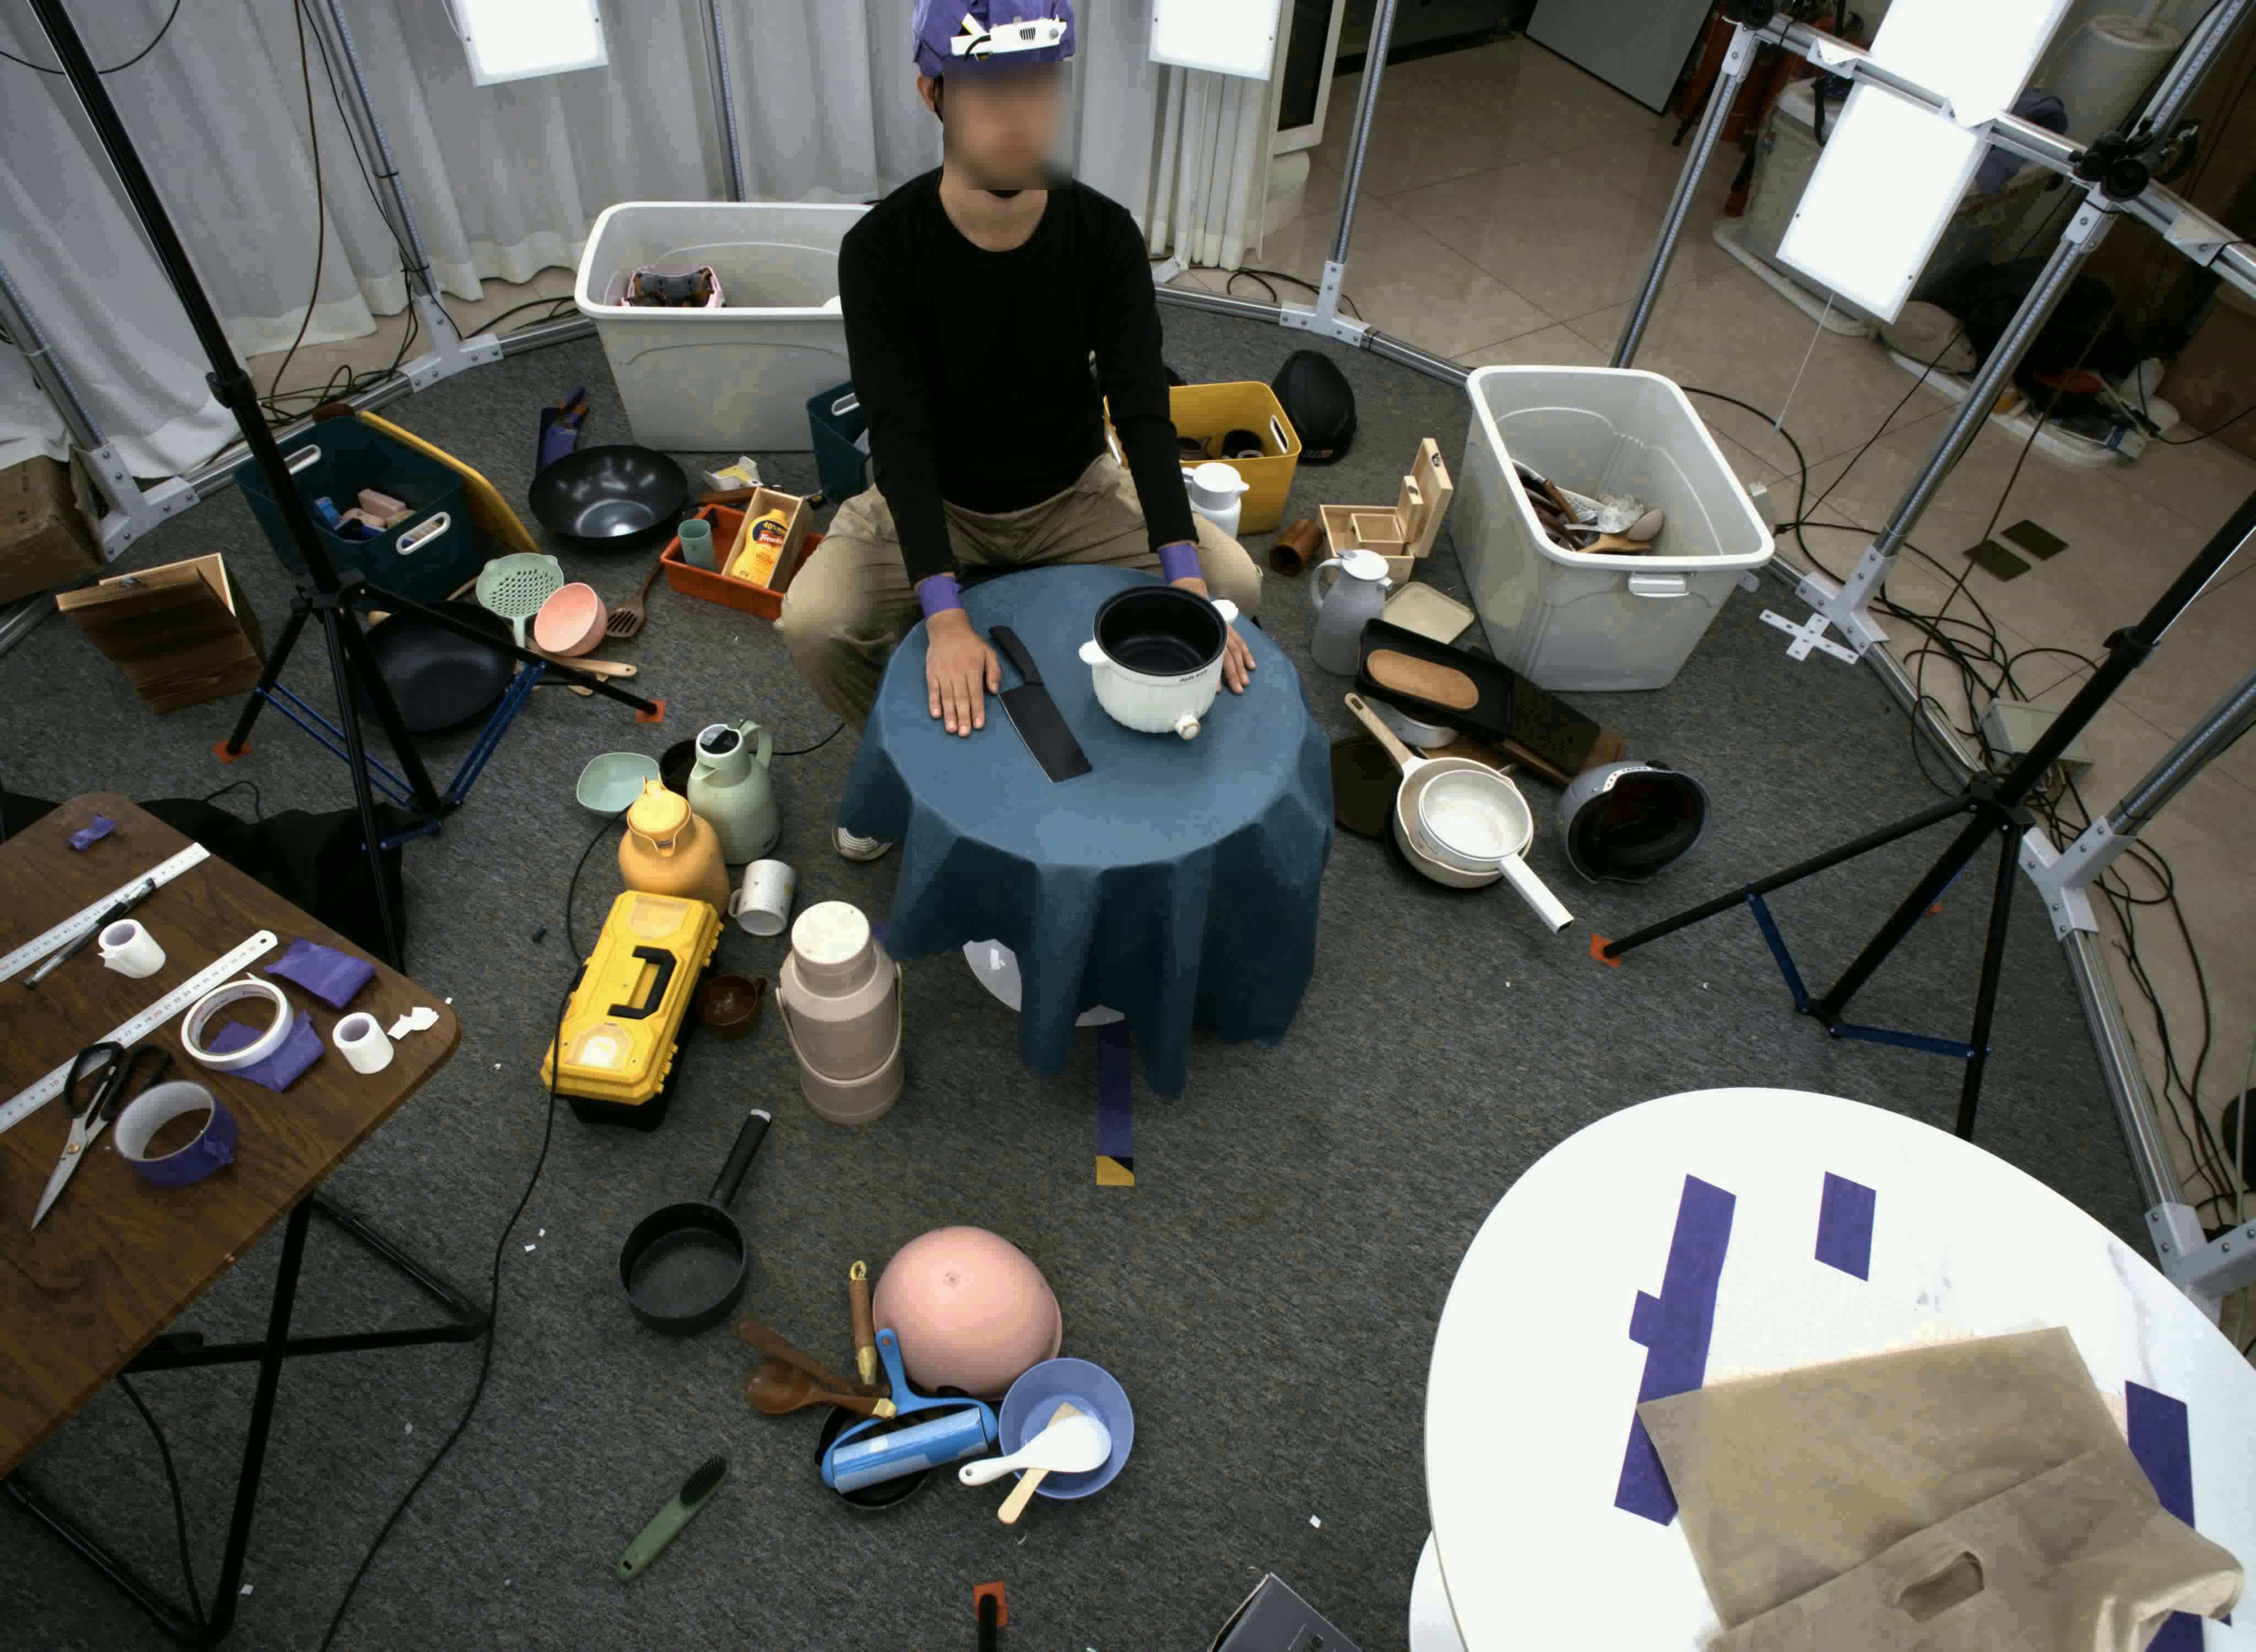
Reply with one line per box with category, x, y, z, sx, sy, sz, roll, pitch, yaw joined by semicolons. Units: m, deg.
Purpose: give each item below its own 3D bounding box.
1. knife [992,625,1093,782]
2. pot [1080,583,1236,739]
knife;-0.134;-0.177;1.806;0.081;0.020;0.309;-14;53;-14
pot;0.044;-0.221;1.775;0.241;0.139;0.194;-22;51;-20
